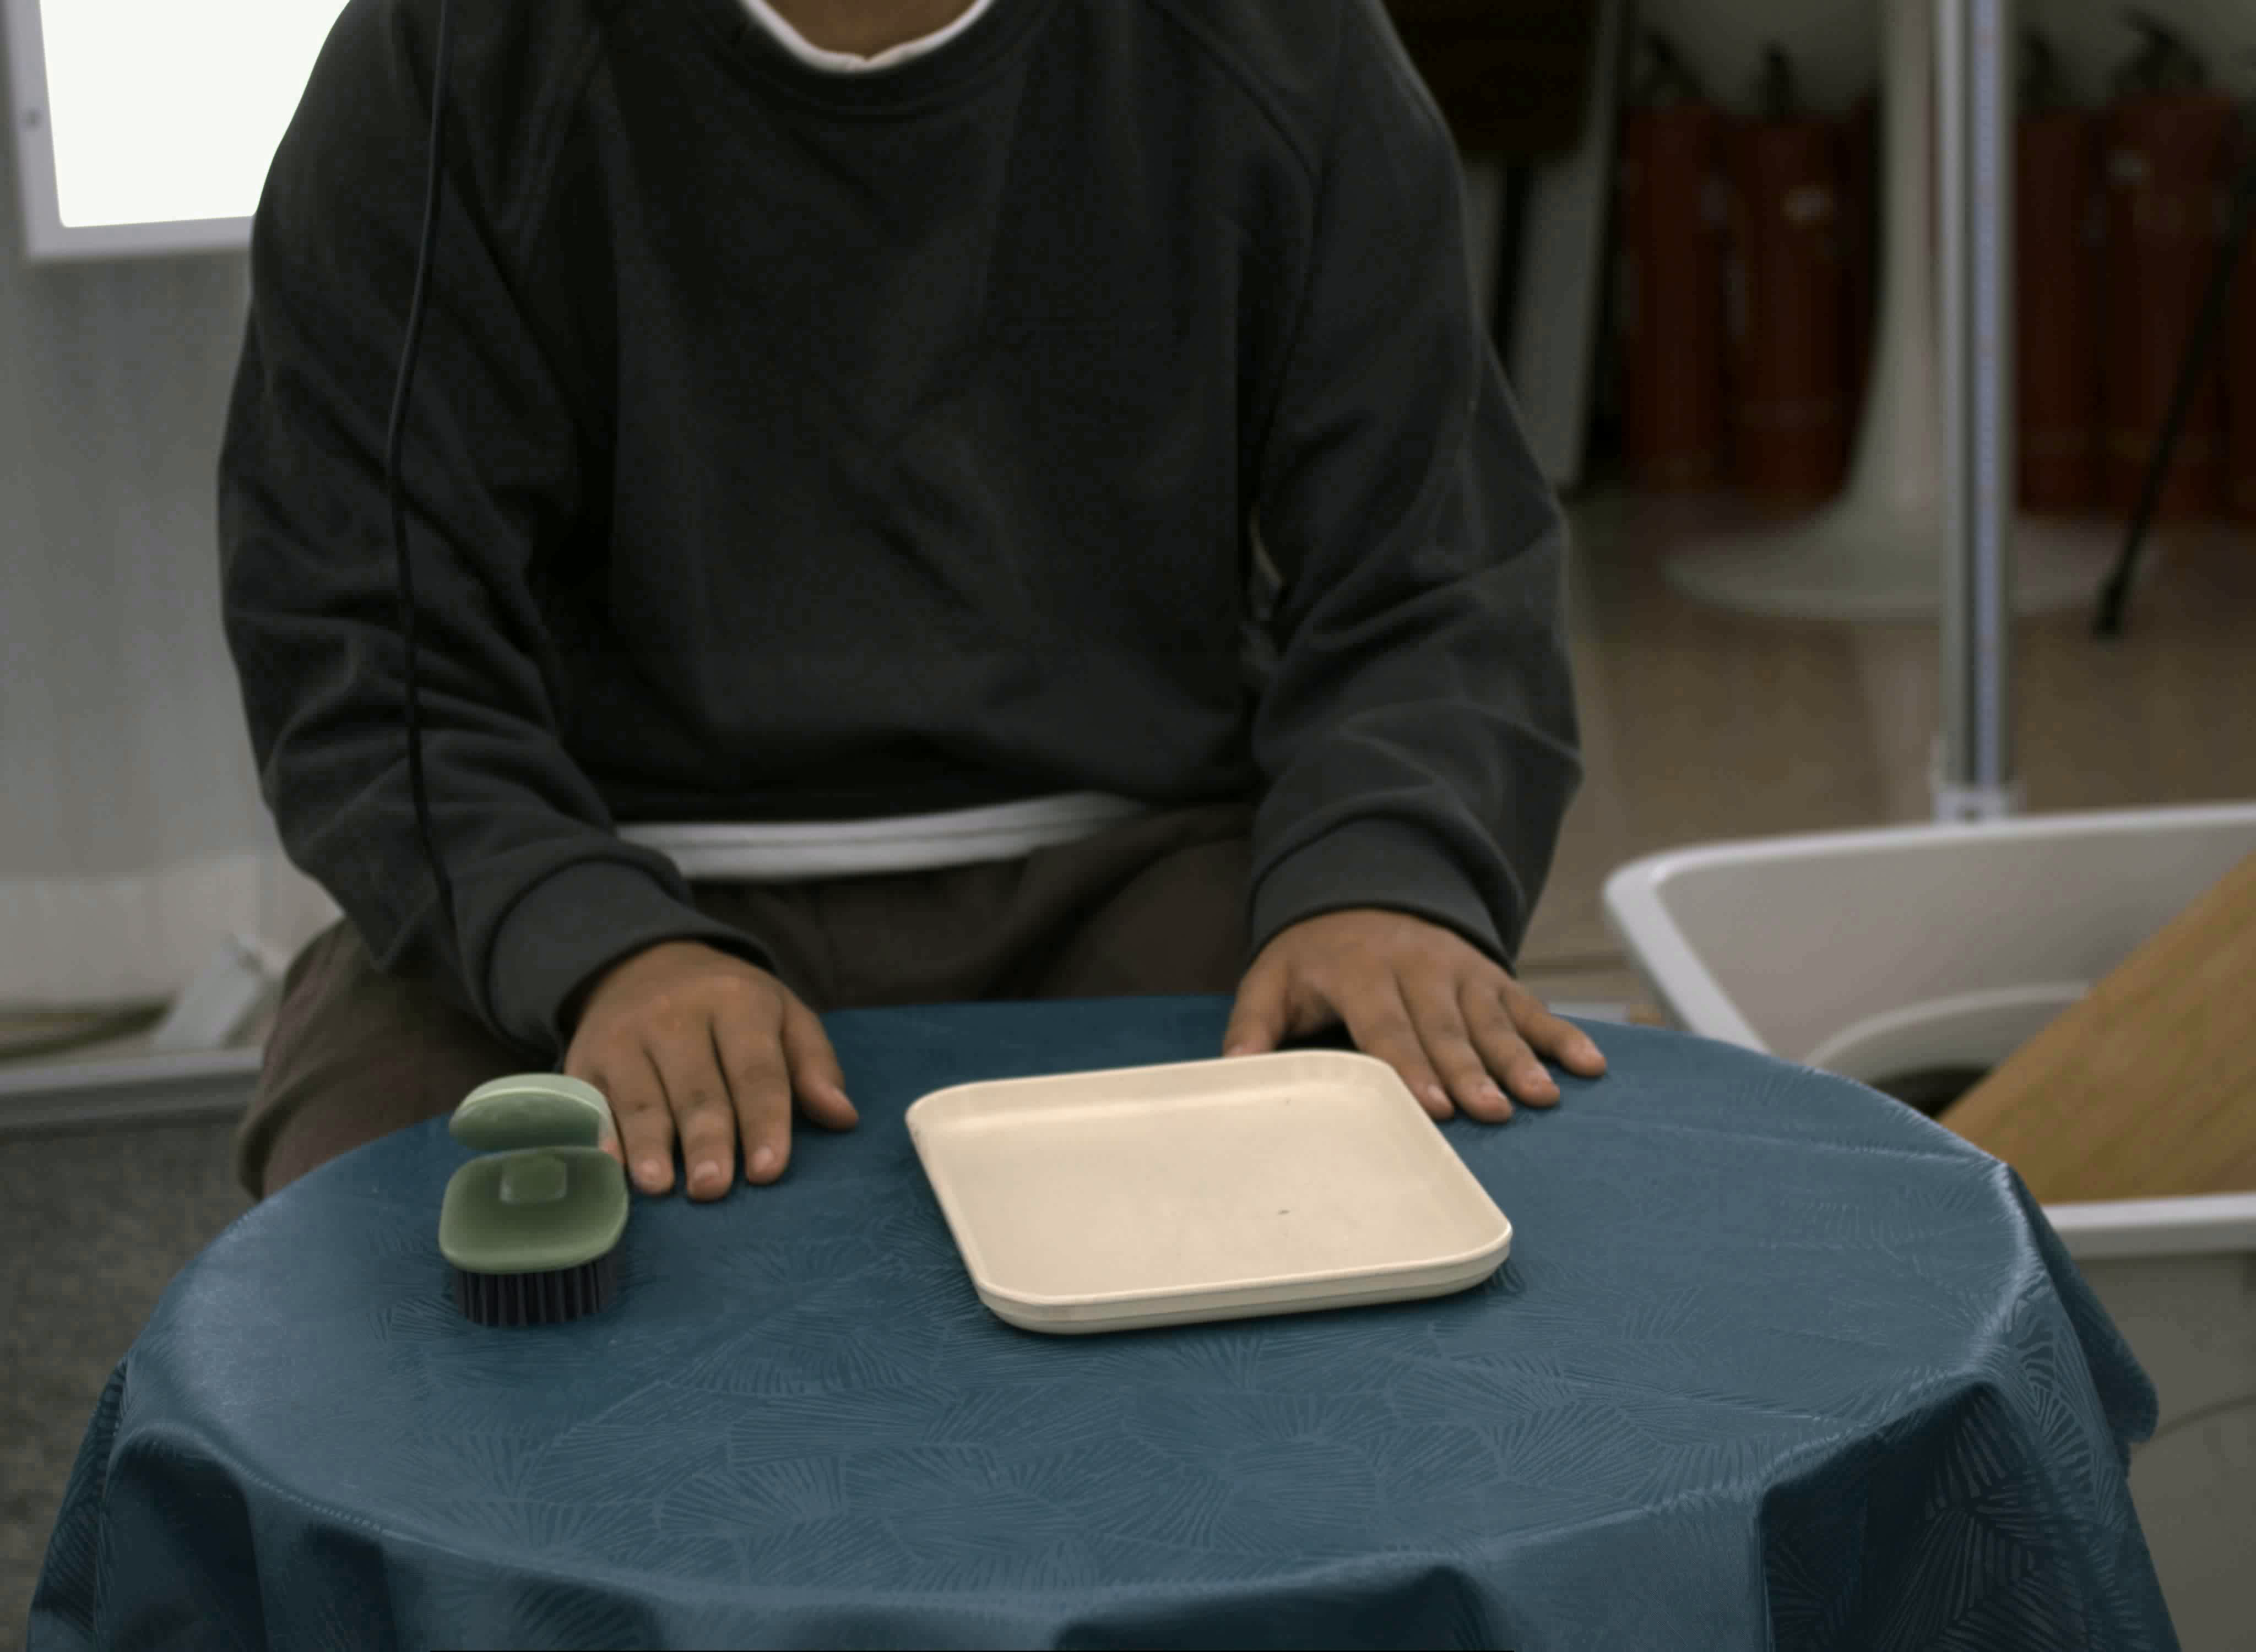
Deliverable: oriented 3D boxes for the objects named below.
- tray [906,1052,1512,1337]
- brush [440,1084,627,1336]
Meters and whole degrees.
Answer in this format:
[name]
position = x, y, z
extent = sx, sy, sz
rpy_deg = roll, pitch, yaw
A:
[tray]
position = 0.023, 0.118, 1.743
extent = 0.168, 0.017, 0.241
rpy_deg = -5, 14, -7
[brush]
position = -0.189, 0.120, 1.724
extent = 0.059, 0.077, 0.123
rpy_deg = -4, -1, -4
